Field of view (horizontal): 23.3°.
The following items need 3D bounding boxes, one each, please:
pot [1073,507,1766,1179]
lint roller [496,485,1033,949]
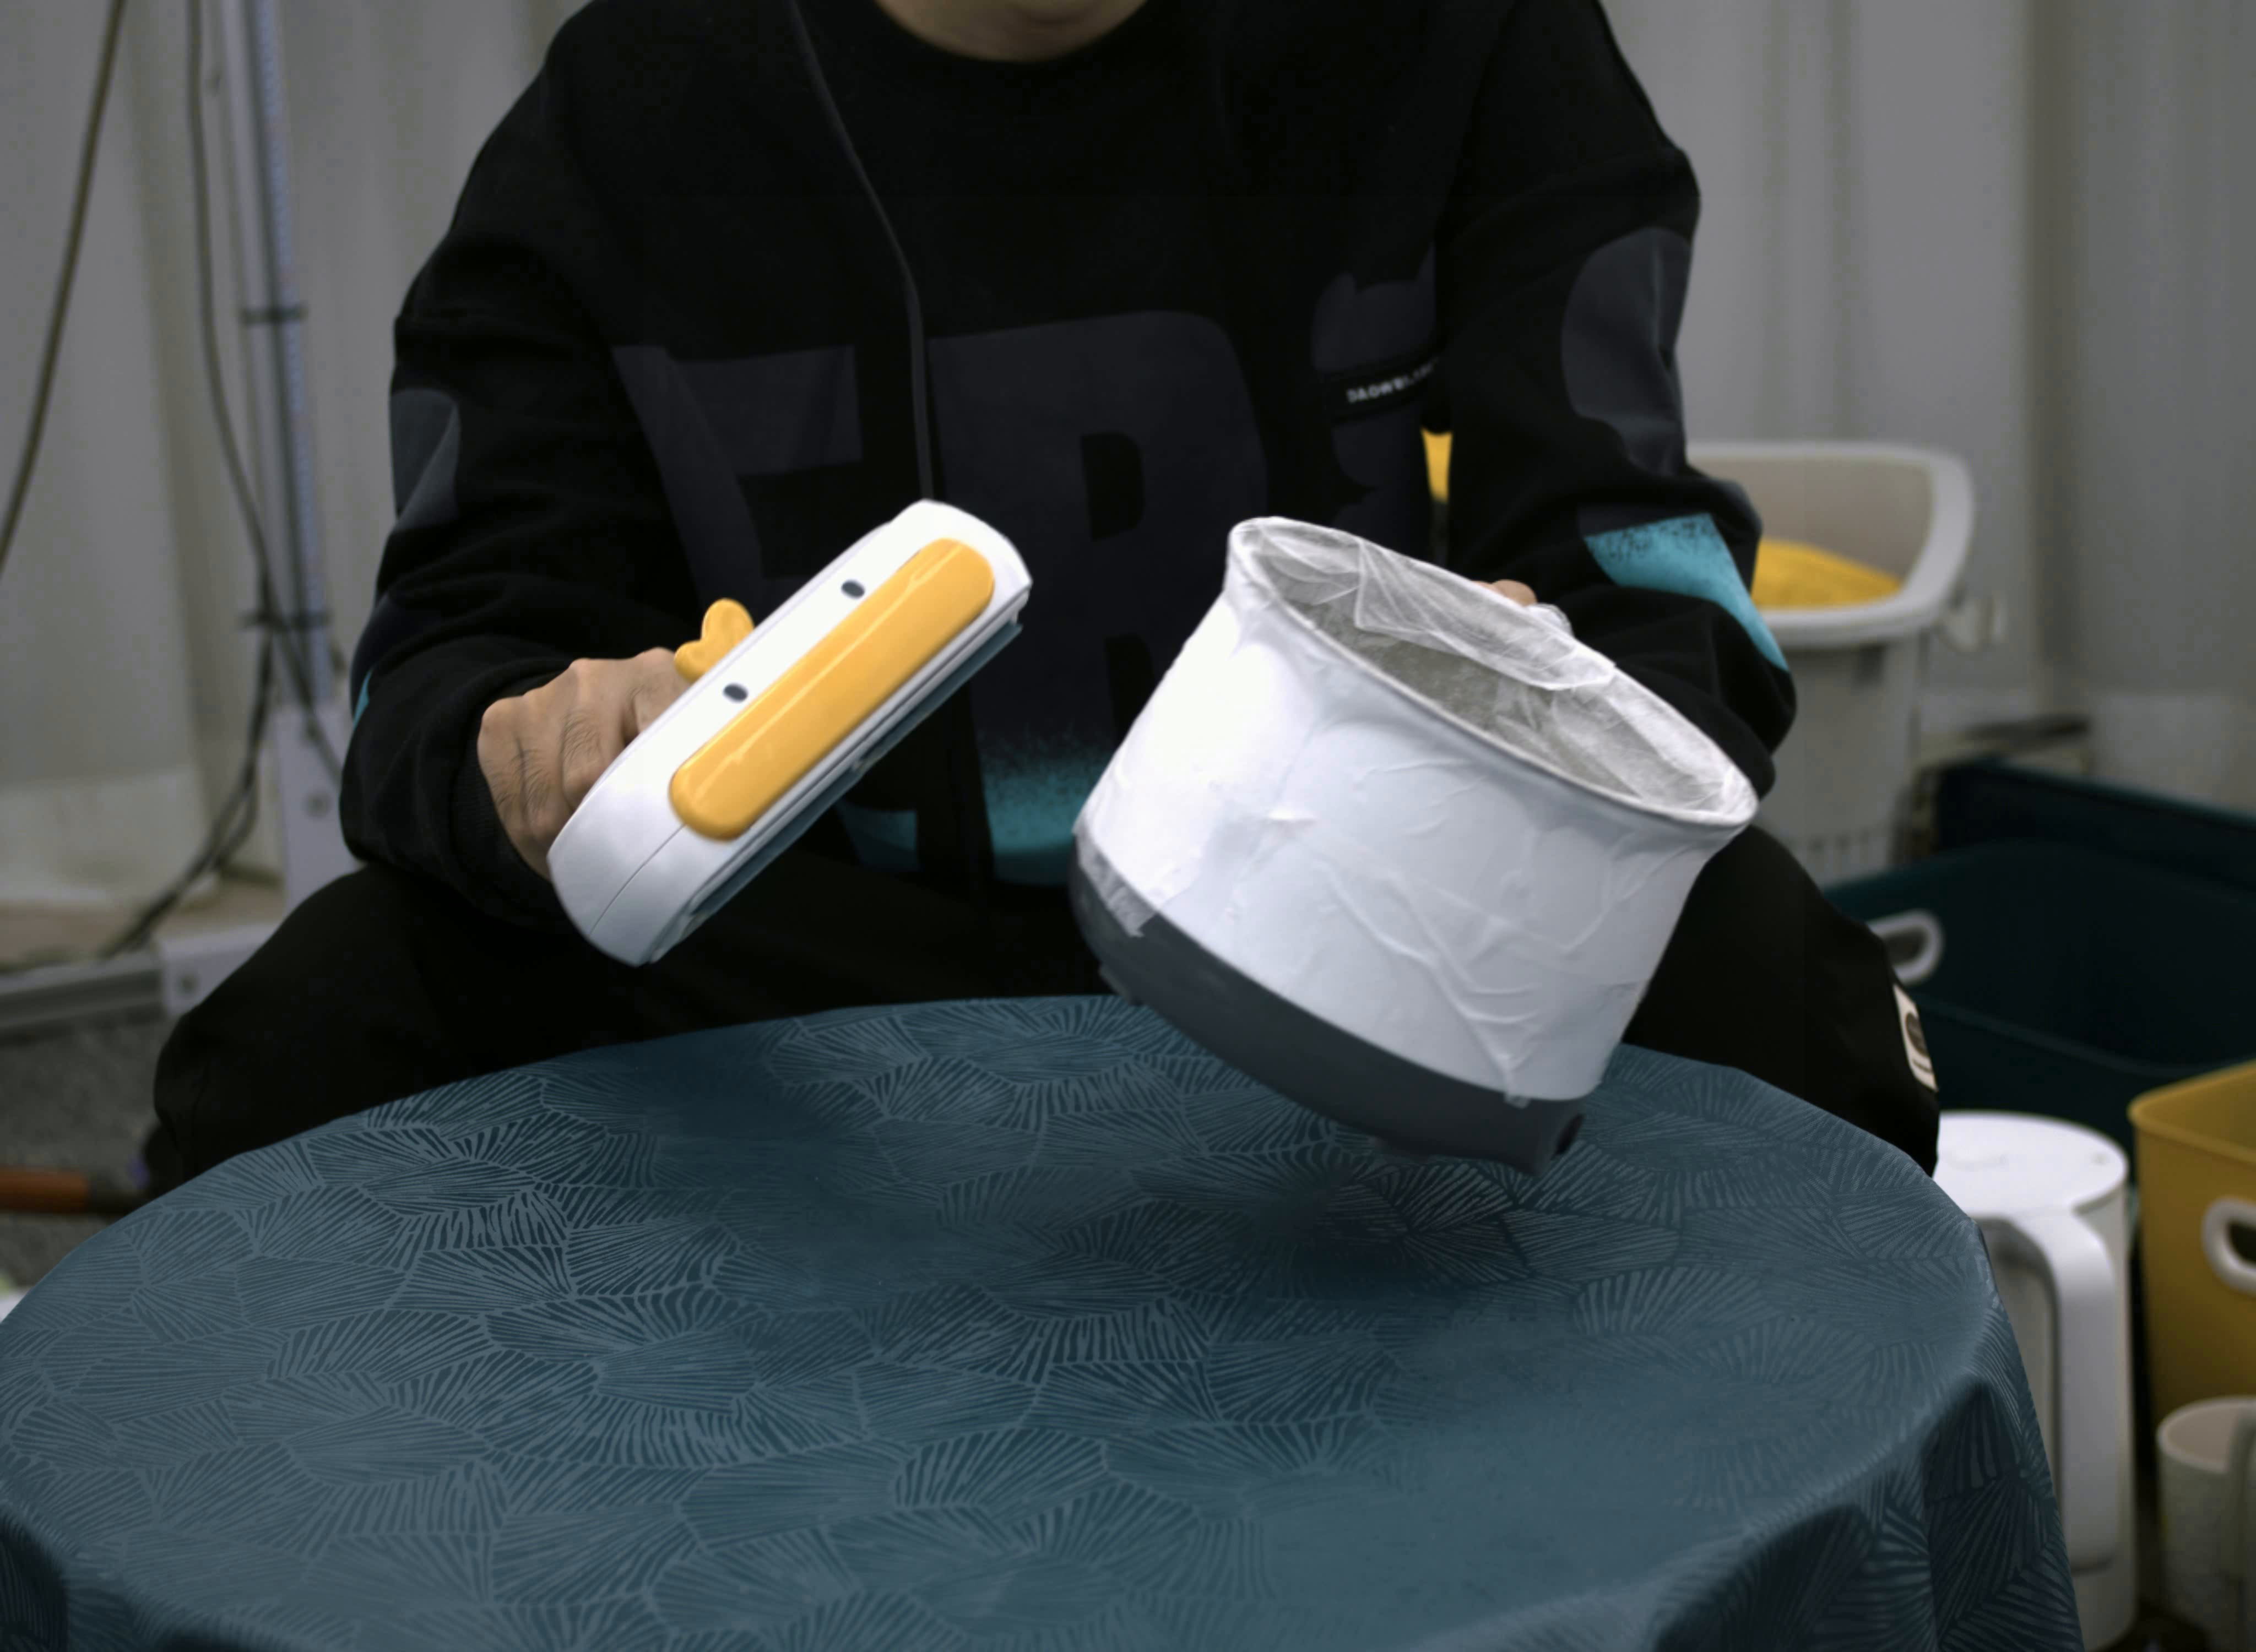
[{"bbox_3d":[0.088,0.000,1.664,0.179,0.136,0.234,31,16,6],"label":"pot"},{"bbox_3d":[-0.135,-0.018,1.732,0.191,0.074,0.194,-35,12,51],"label":"lint roller"}]
